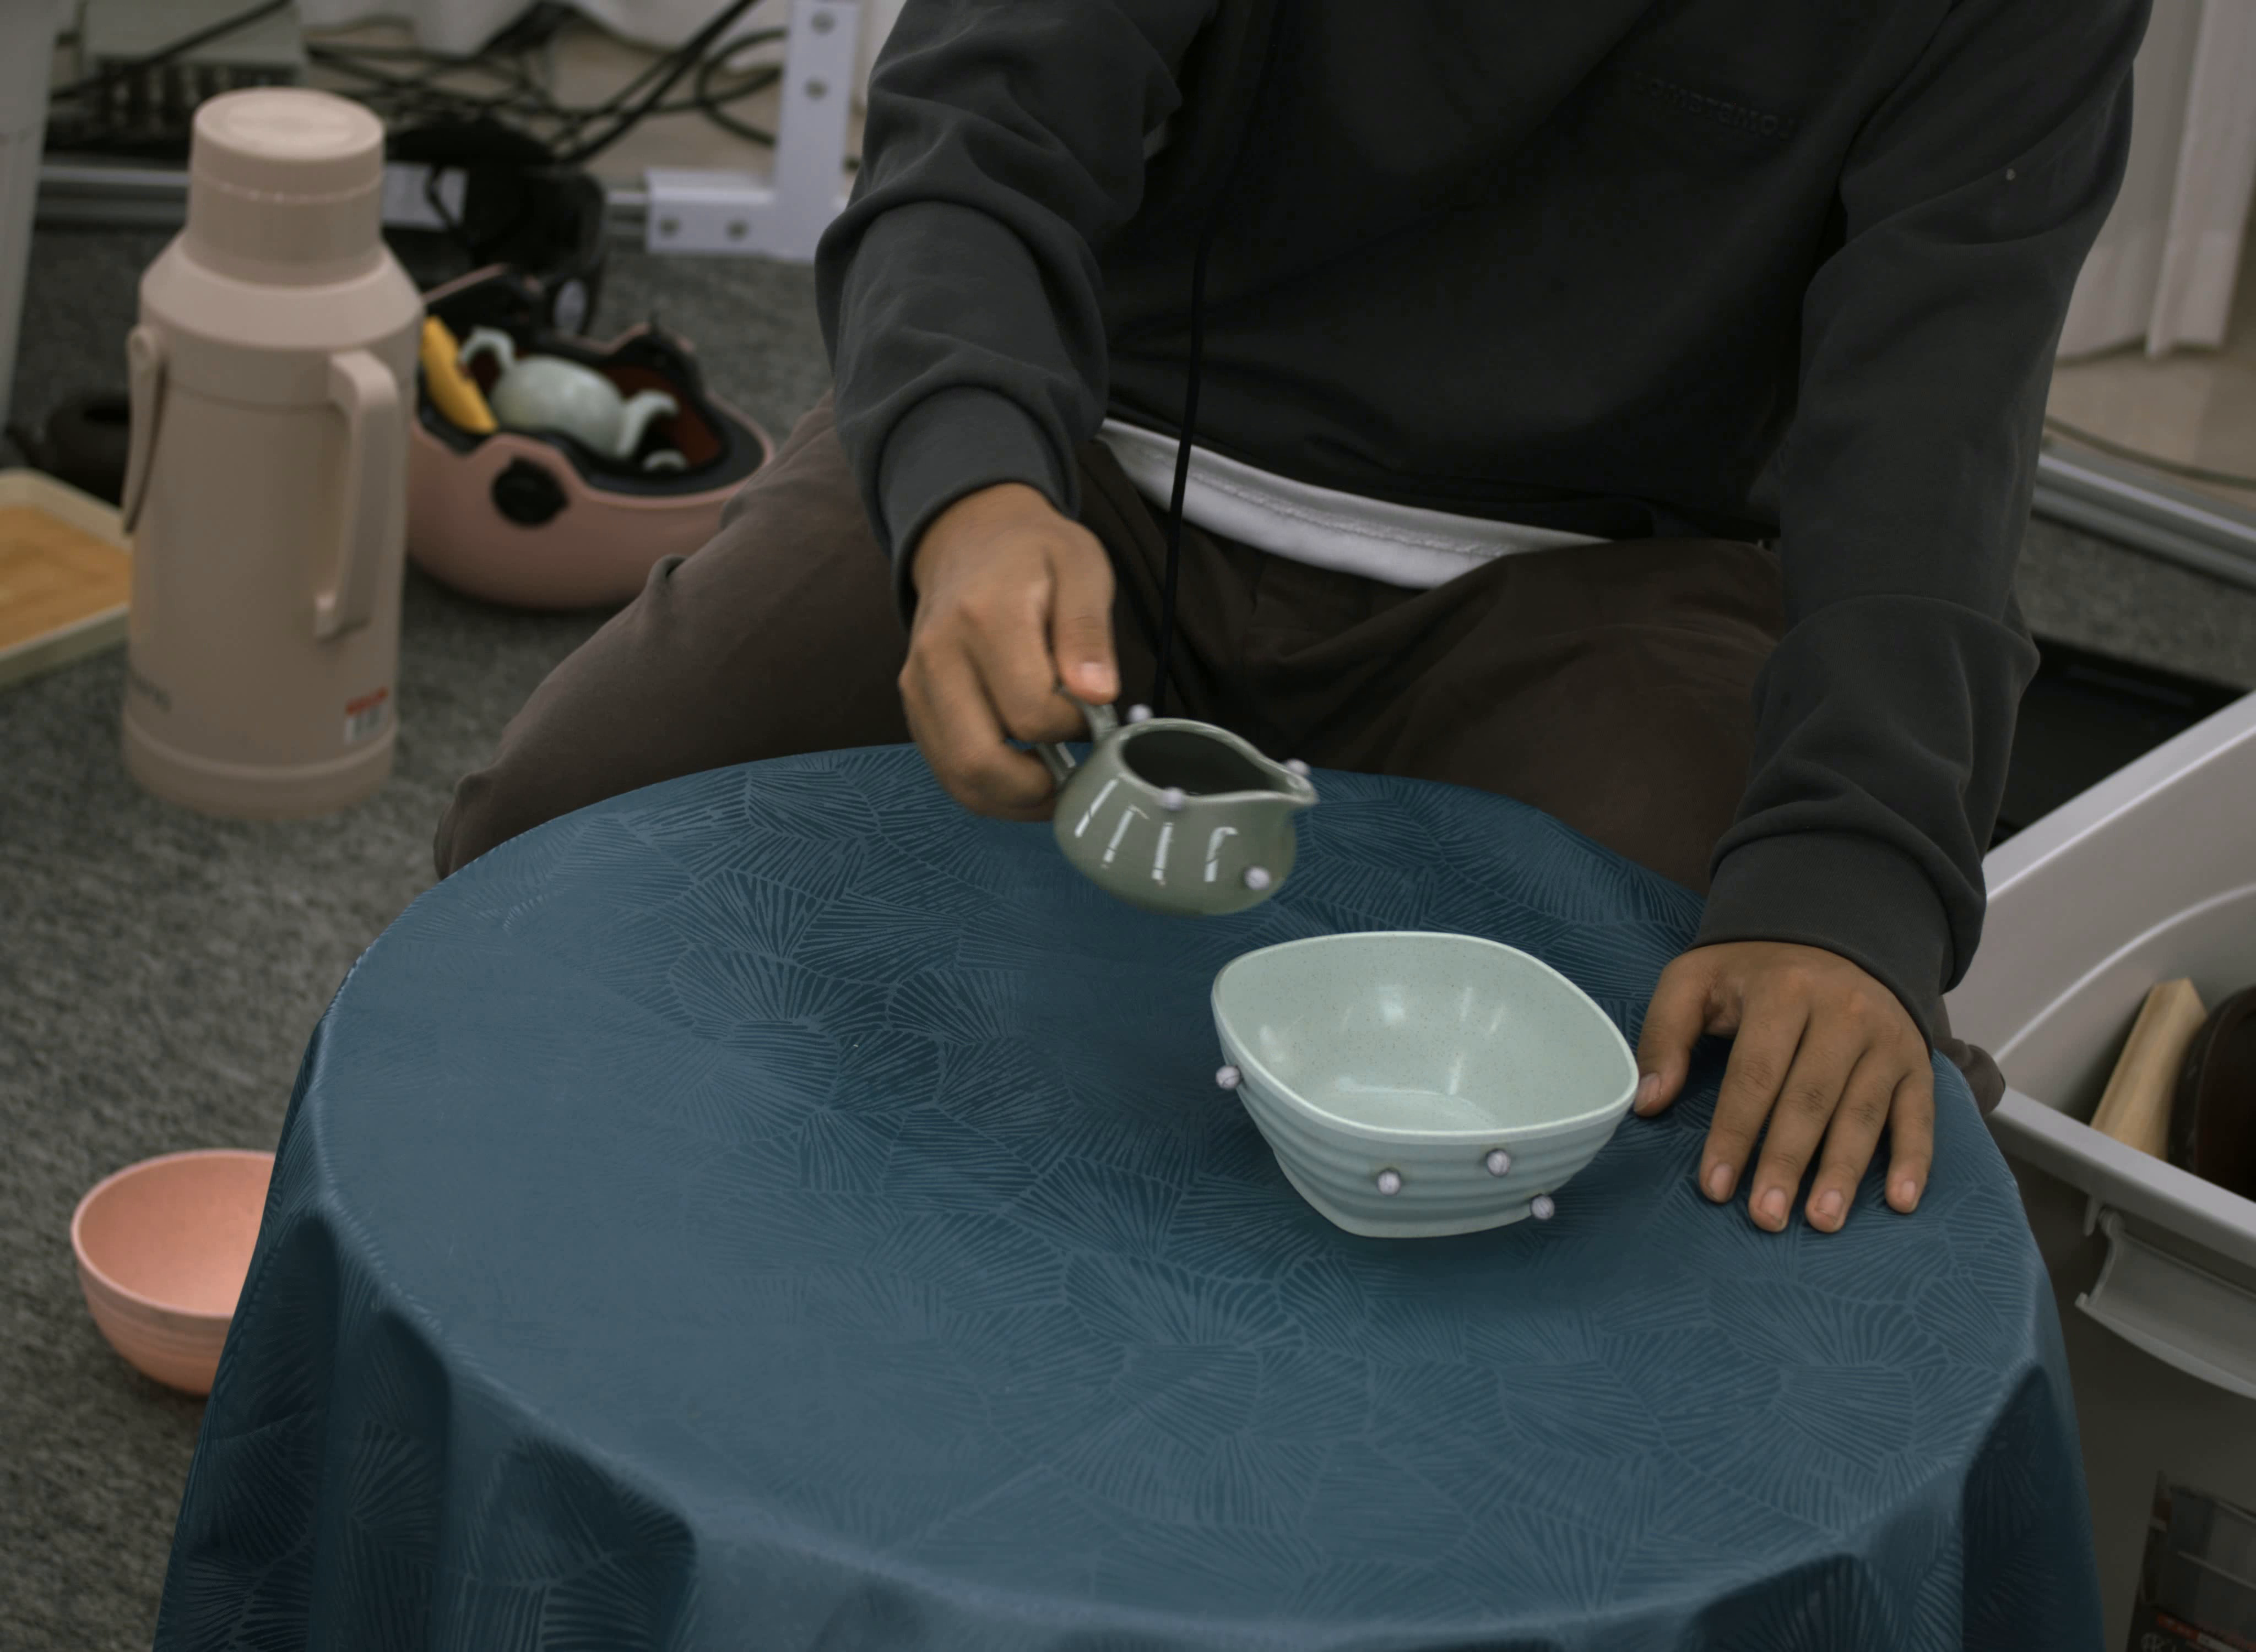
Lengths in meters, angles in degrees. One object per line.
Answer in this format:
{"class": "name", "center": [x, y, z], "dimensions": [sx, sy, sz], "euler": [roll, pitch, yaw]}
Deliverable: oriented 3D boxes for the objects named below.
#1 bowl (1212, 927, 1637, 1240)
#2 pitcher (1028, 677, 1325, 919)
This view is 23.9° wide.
{"class": "bowl", "center": [0.098, 0.094, 1.826], "dimensions": [0.151, 0.058, 0.152], "euler": [5, 28, -3]}
{"class": "pitcher", "center": [0.013, -0.008, 1.815], "dimensions": [0.113, 0.056, 0.084], "euler": [25, 31, 22]}
